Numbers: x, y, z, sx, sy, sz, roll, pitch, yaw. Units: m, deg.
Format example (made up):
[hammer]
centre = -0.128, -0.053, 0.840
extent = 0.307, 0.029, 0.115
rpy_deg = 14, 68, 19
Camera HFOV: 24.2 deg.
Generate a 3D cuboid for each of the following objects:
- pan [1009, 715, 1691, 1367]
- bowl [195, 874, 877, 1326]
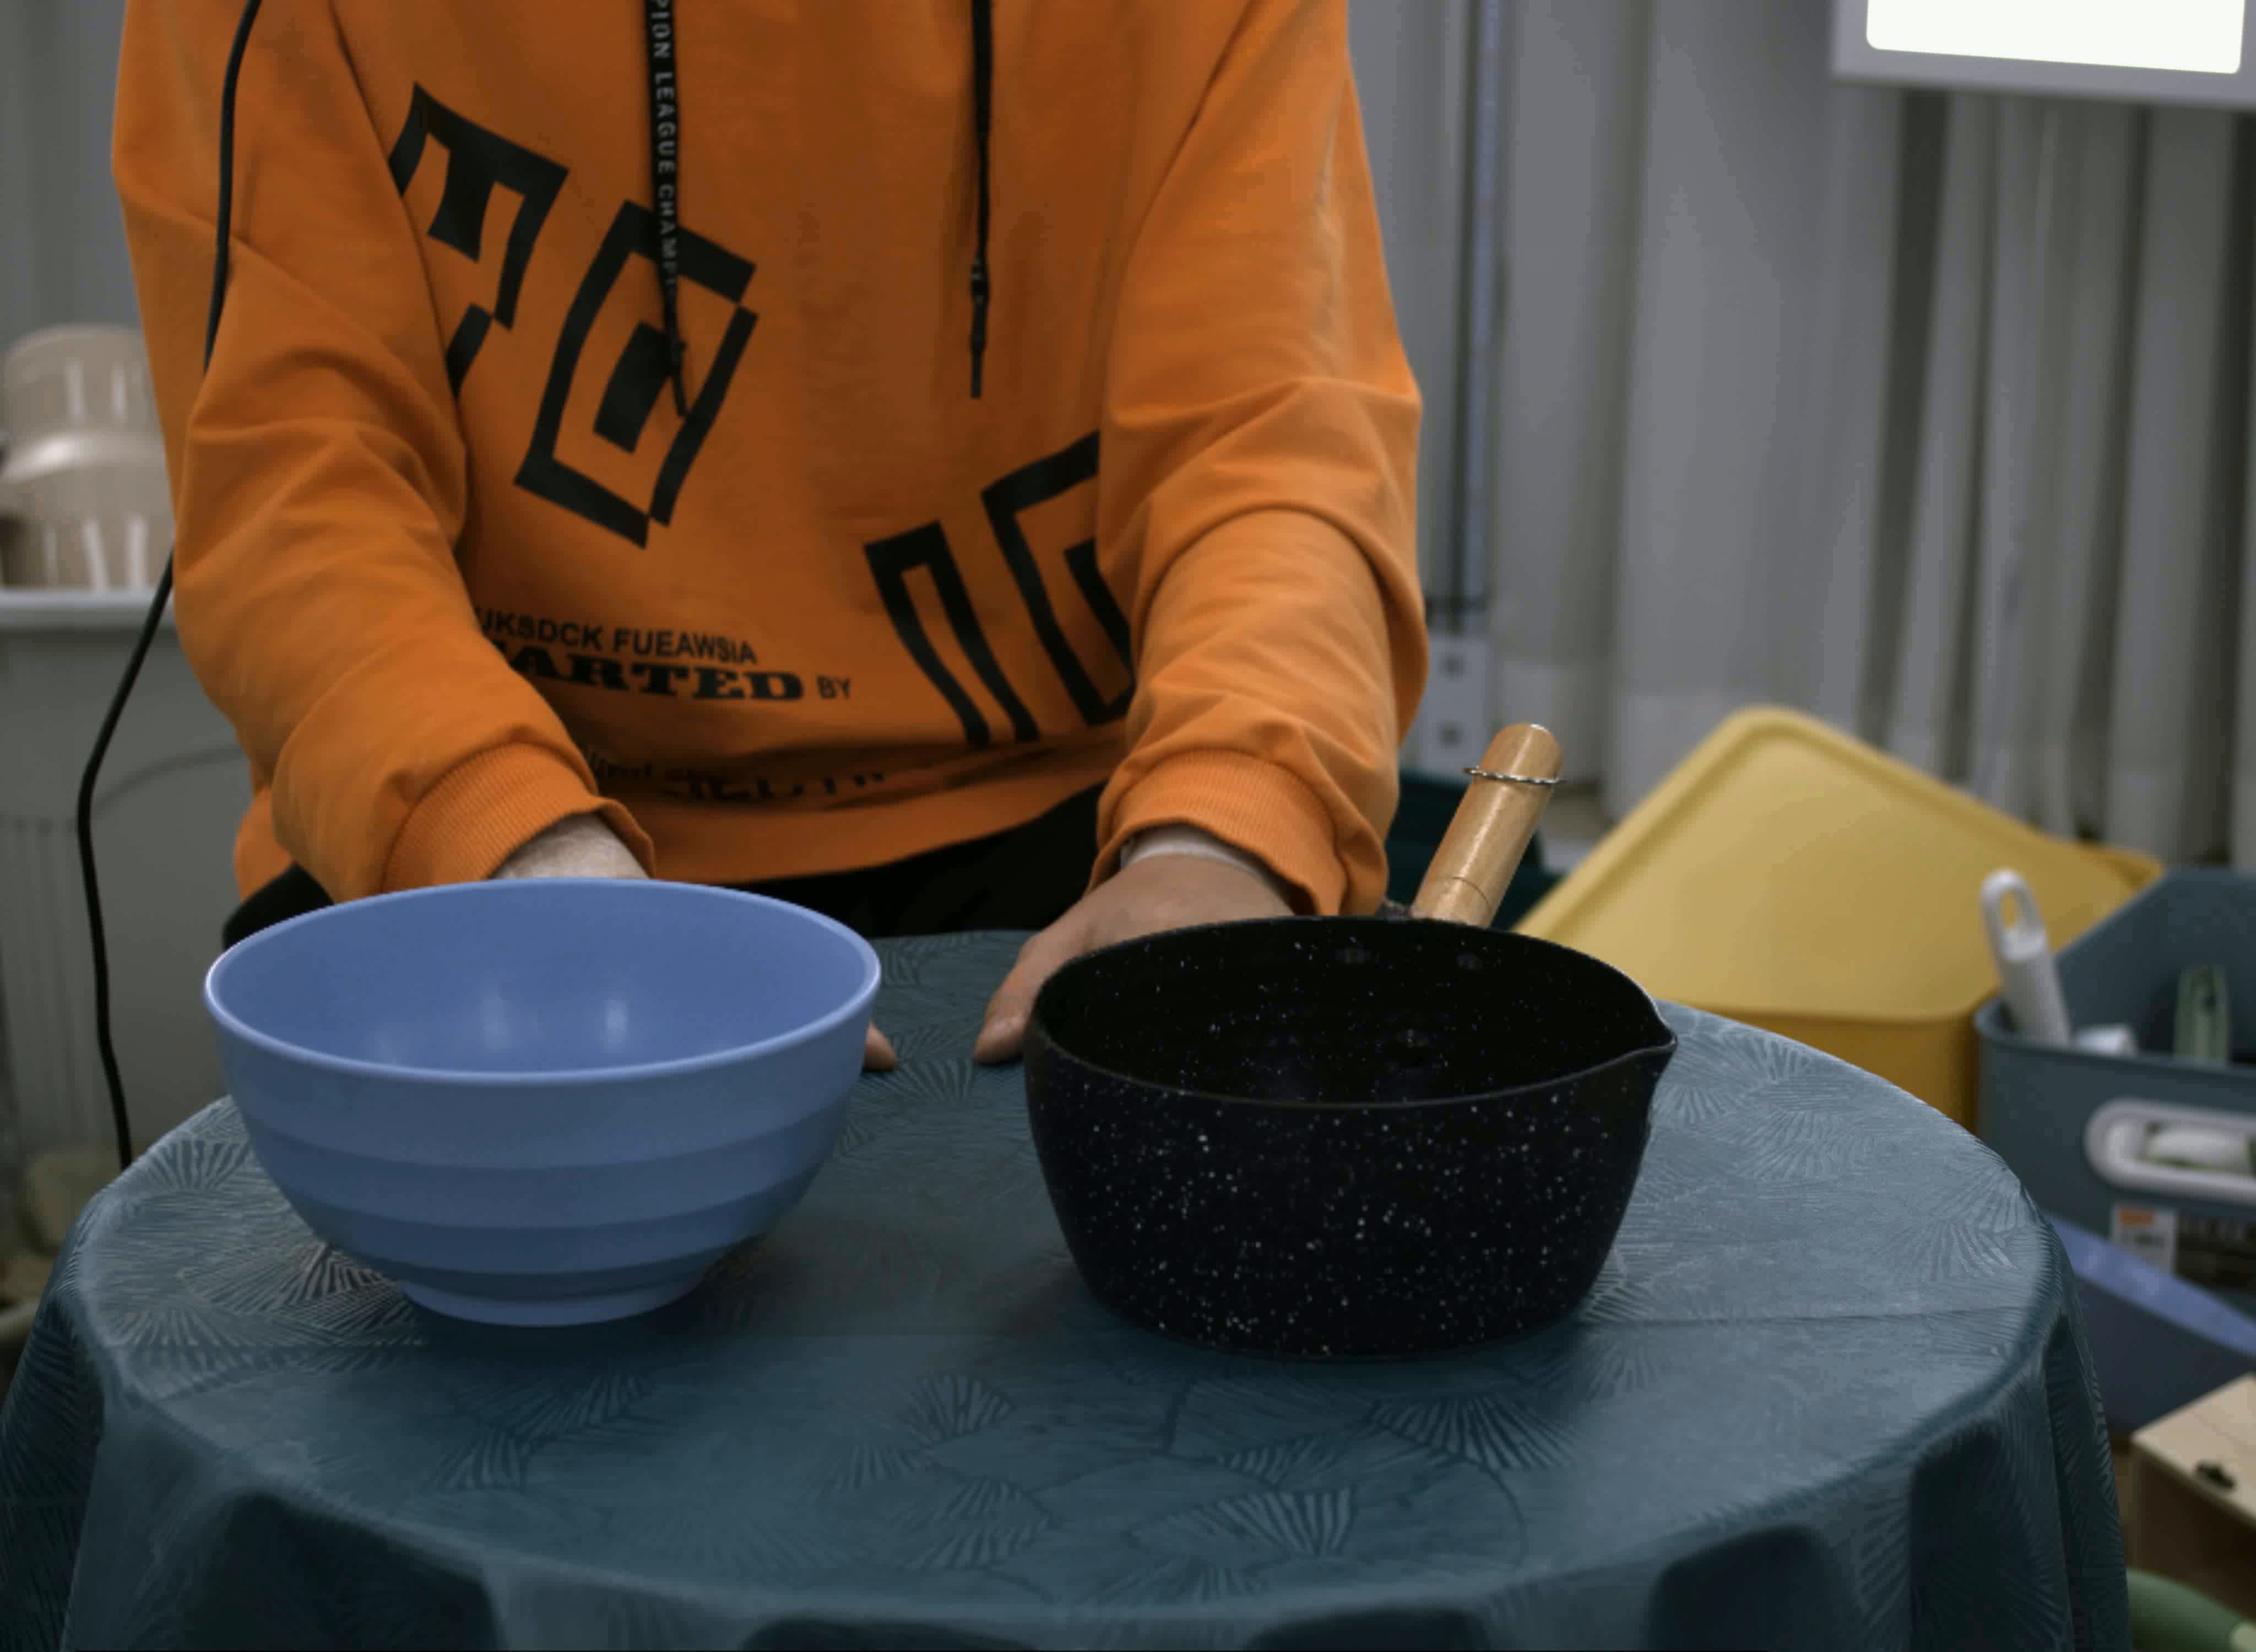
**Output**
[pan]
centre = 0.083, 0.060, 1.611
extent = 0.206, 0.109, 0.342
rpy_deg = 4, 17, 15
[bowl]
centre = -0.170, 0.085, 1.535
extent = 0.196, 0.096, 0.195
rpy_deg = 0, 16, 1
